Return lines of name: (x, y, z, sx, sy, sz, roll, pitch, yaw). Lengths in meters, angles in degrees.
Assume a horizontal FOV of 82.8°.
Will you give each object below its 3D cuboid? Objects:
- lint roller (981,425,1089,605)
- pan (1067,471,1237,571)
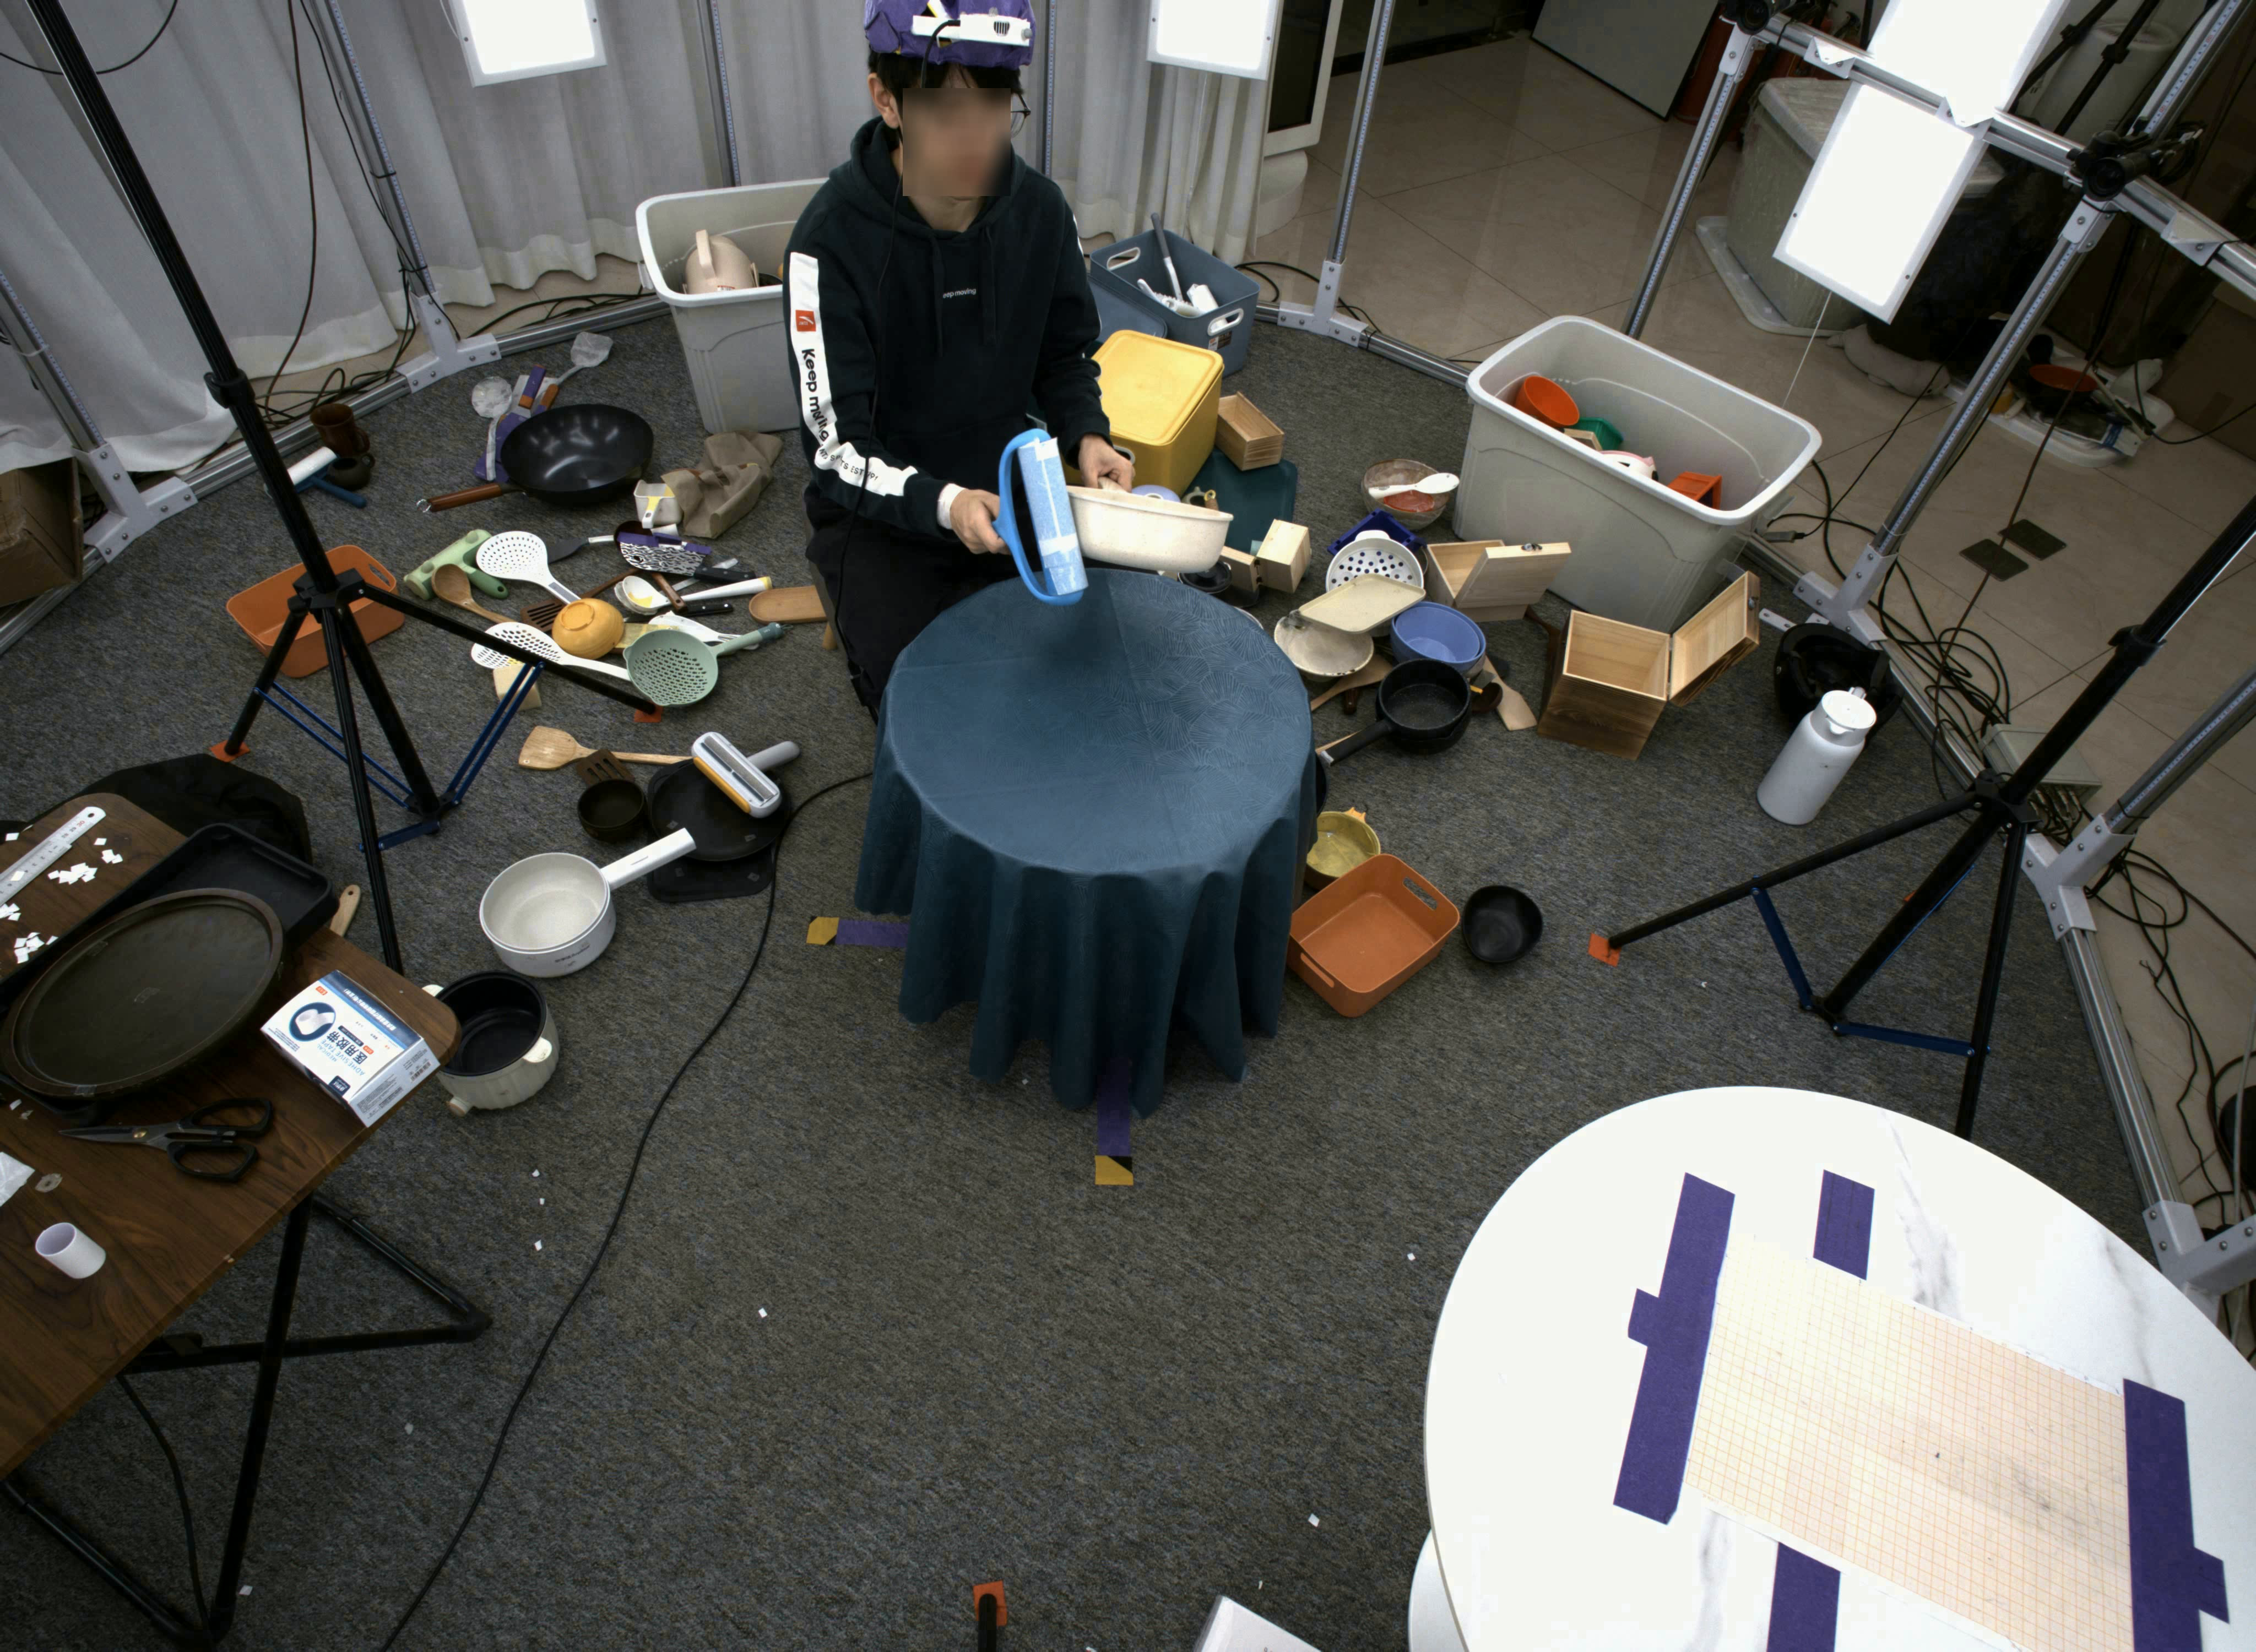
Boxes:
lint roller: (-0.143, -0.398, 1.703, 0.181, 0.226, 0.068, -3, 18, 40)
pan: (-0.006, -0.442, 1.849, 0.262, 0.101, 0.442, 3, 18, -18)
